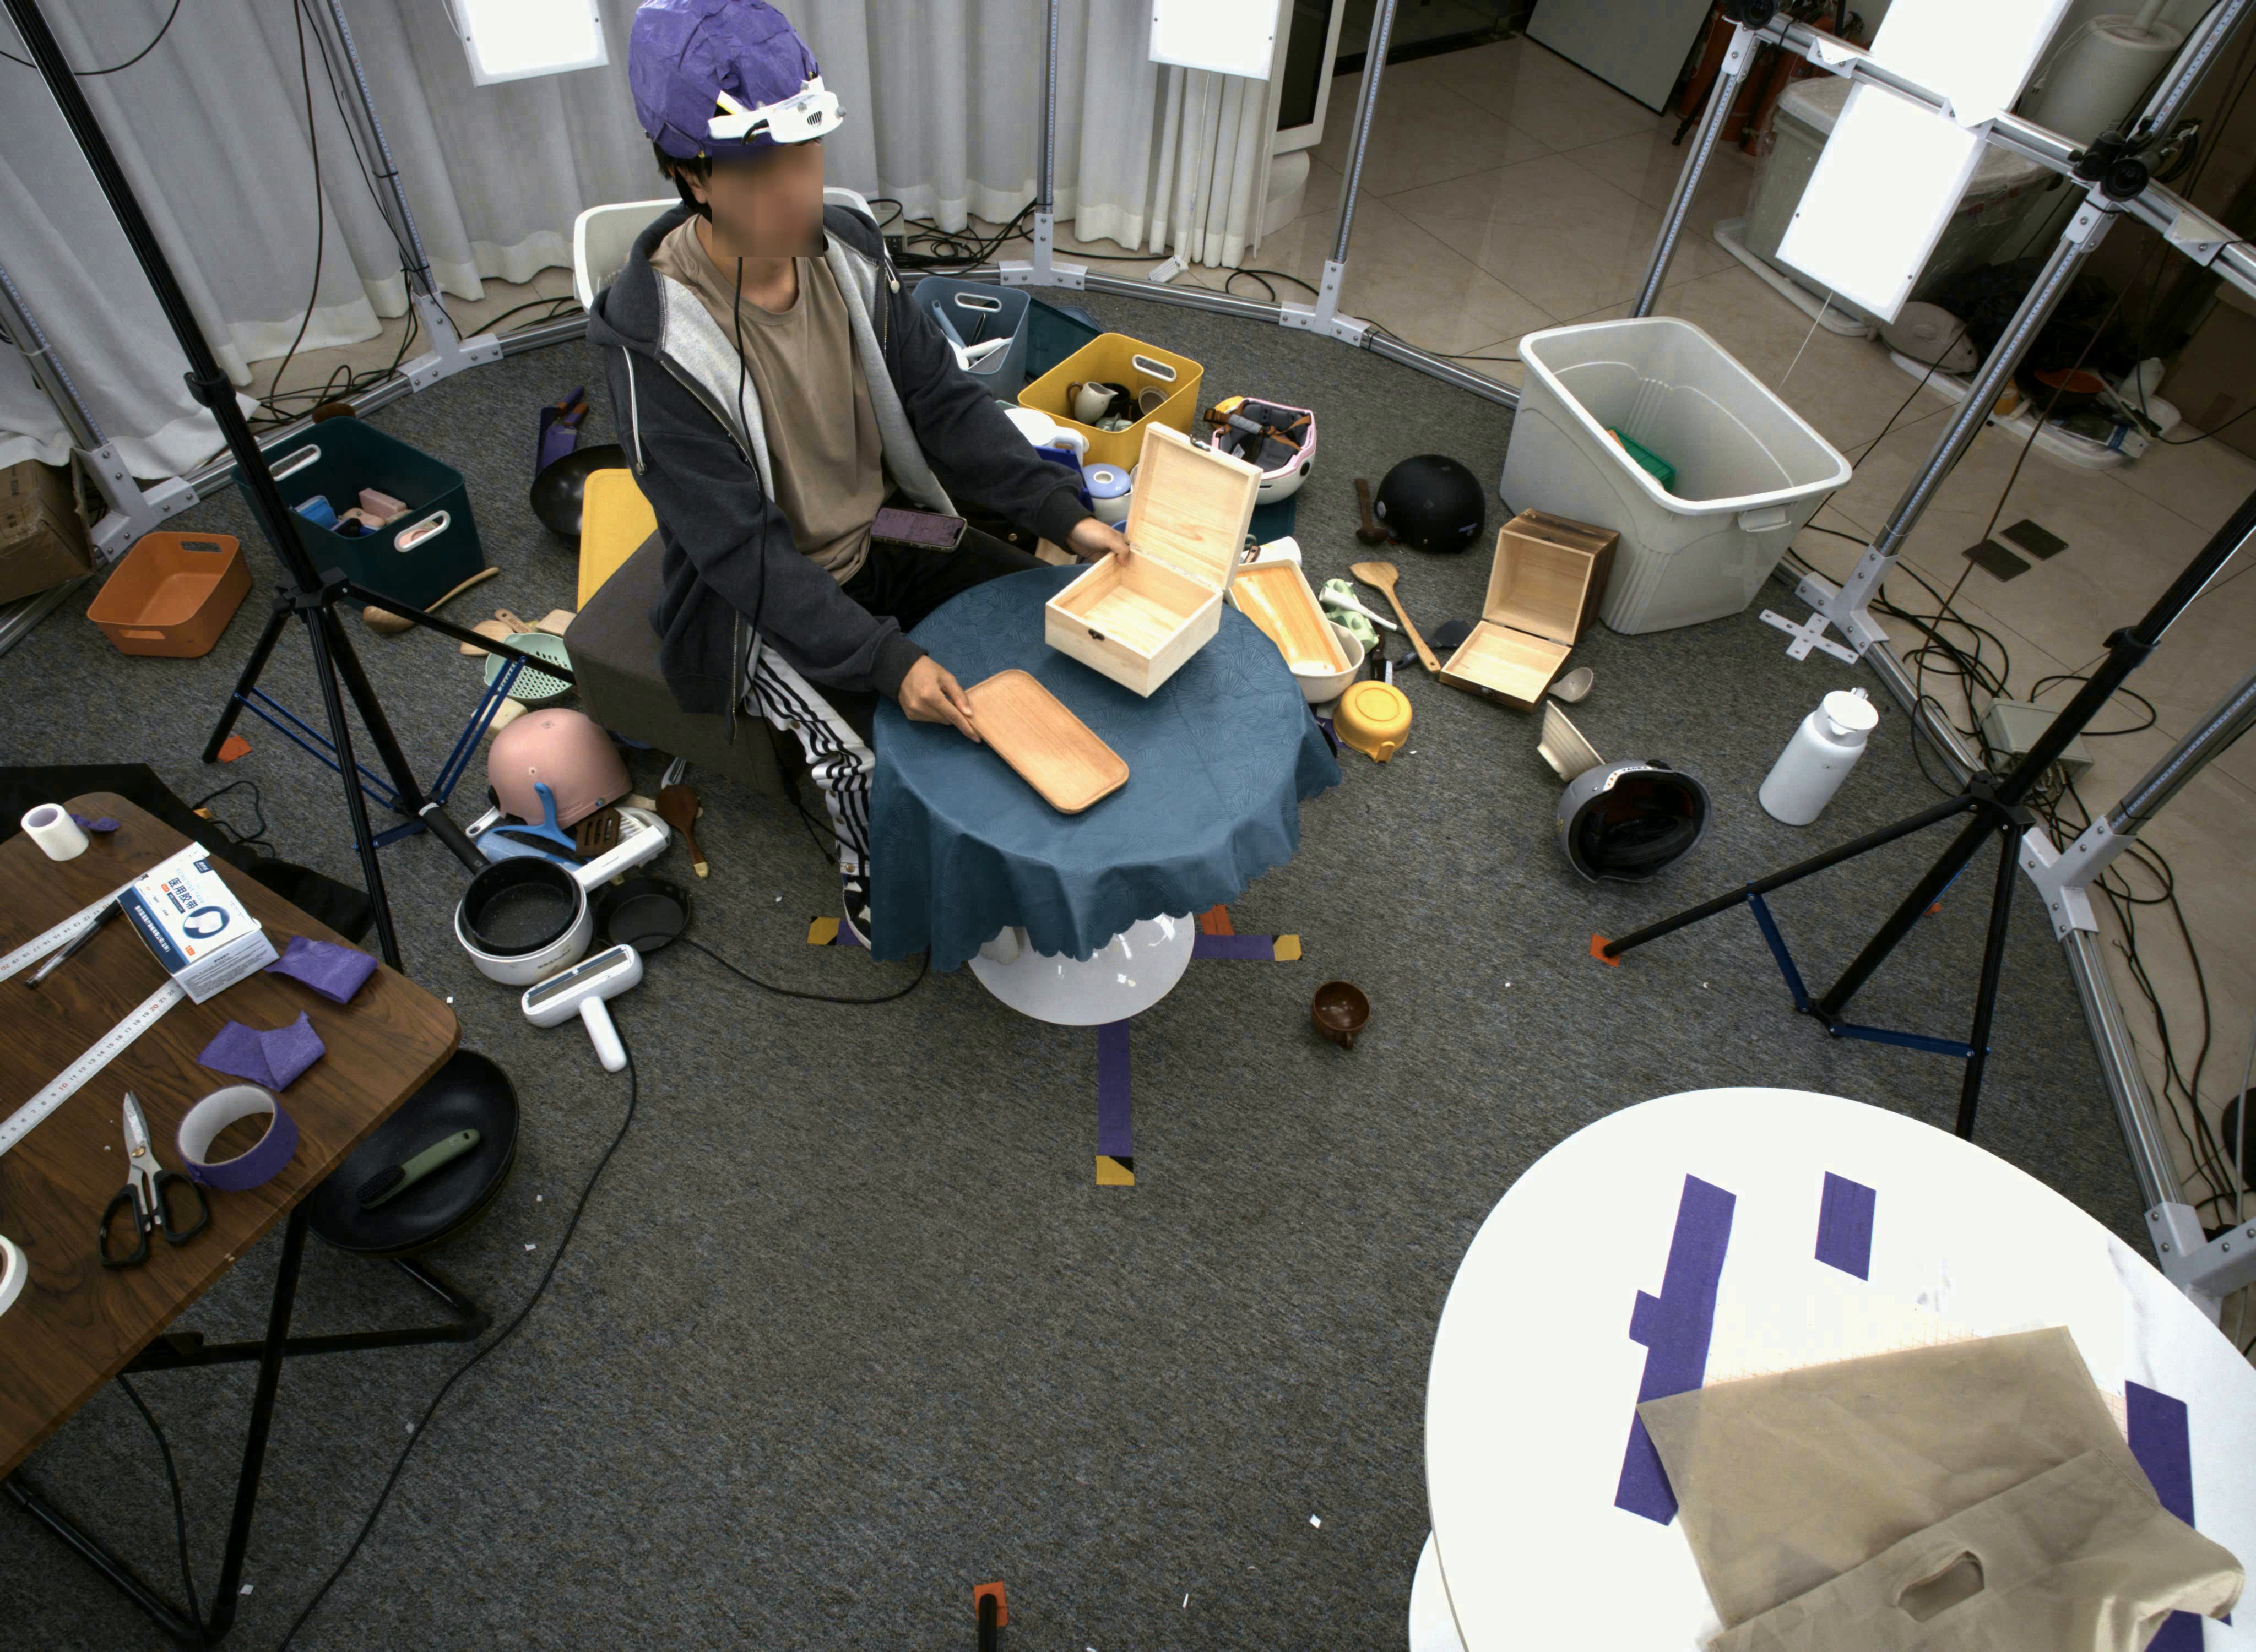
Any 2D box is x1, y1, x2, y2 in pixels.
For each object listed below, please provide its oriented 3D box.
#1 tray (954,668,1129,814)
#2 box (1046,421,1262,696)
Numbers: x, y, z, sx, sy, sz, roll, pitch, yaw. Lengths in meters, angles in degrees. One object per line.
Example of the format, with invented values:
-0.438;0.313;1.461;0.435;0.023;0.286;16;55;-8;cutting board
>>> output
-0.118;-0.117;1.733;0.131;0.022;0.254;-30;61;-33;tray
0.032;-0.377;1.800;0.184;0.247;0.268;28;51;24;box
